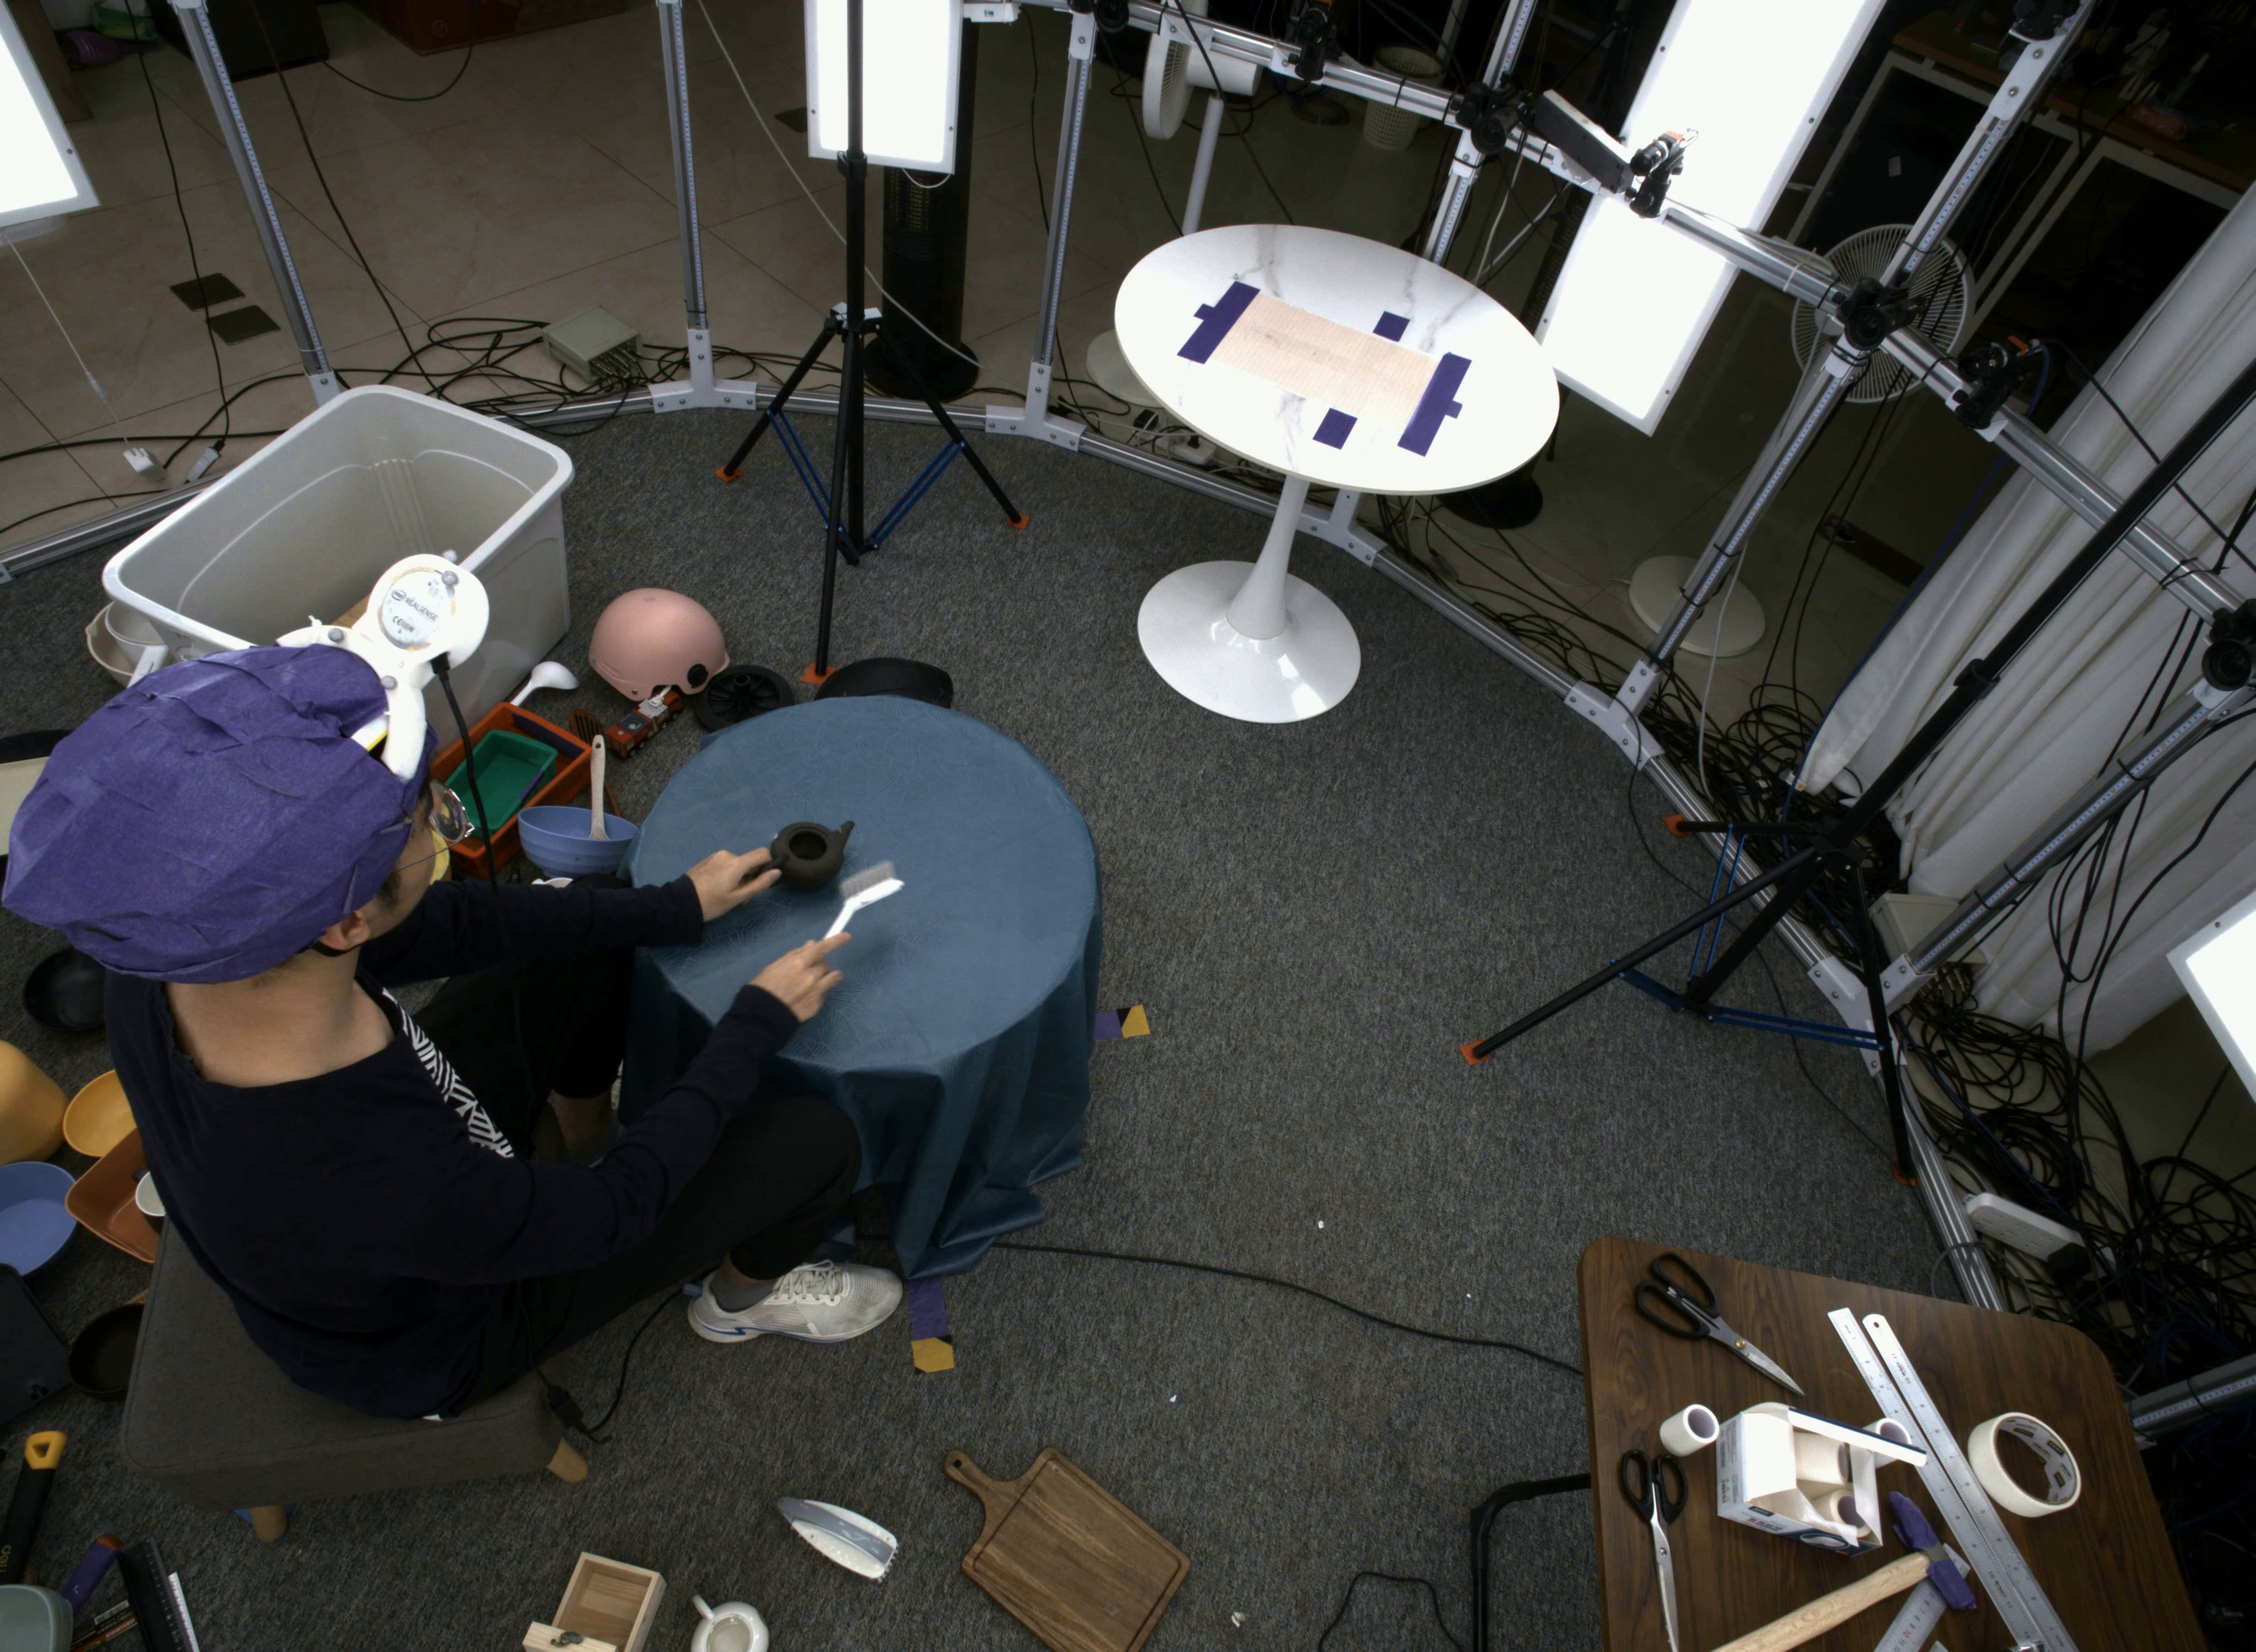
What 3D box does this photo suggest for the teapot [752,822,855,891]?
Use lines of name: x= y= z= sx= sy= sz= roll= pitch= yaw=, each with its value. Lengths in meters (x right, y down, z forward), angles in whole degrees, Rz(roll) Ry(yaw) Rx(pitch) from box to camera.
teapot: x=-0.413 y=0.039 z=1.656 sx=0.155 sy=0.065 sz=0.090 roll=-31 pitch=67 yaw=-37

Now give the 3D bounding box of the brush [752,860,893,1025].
brush: x=-0.375 y=0.133 z=1.554 sx=0.050 sy=0.034 sz=0.243 roll=42 pitch=69 yaw=1
